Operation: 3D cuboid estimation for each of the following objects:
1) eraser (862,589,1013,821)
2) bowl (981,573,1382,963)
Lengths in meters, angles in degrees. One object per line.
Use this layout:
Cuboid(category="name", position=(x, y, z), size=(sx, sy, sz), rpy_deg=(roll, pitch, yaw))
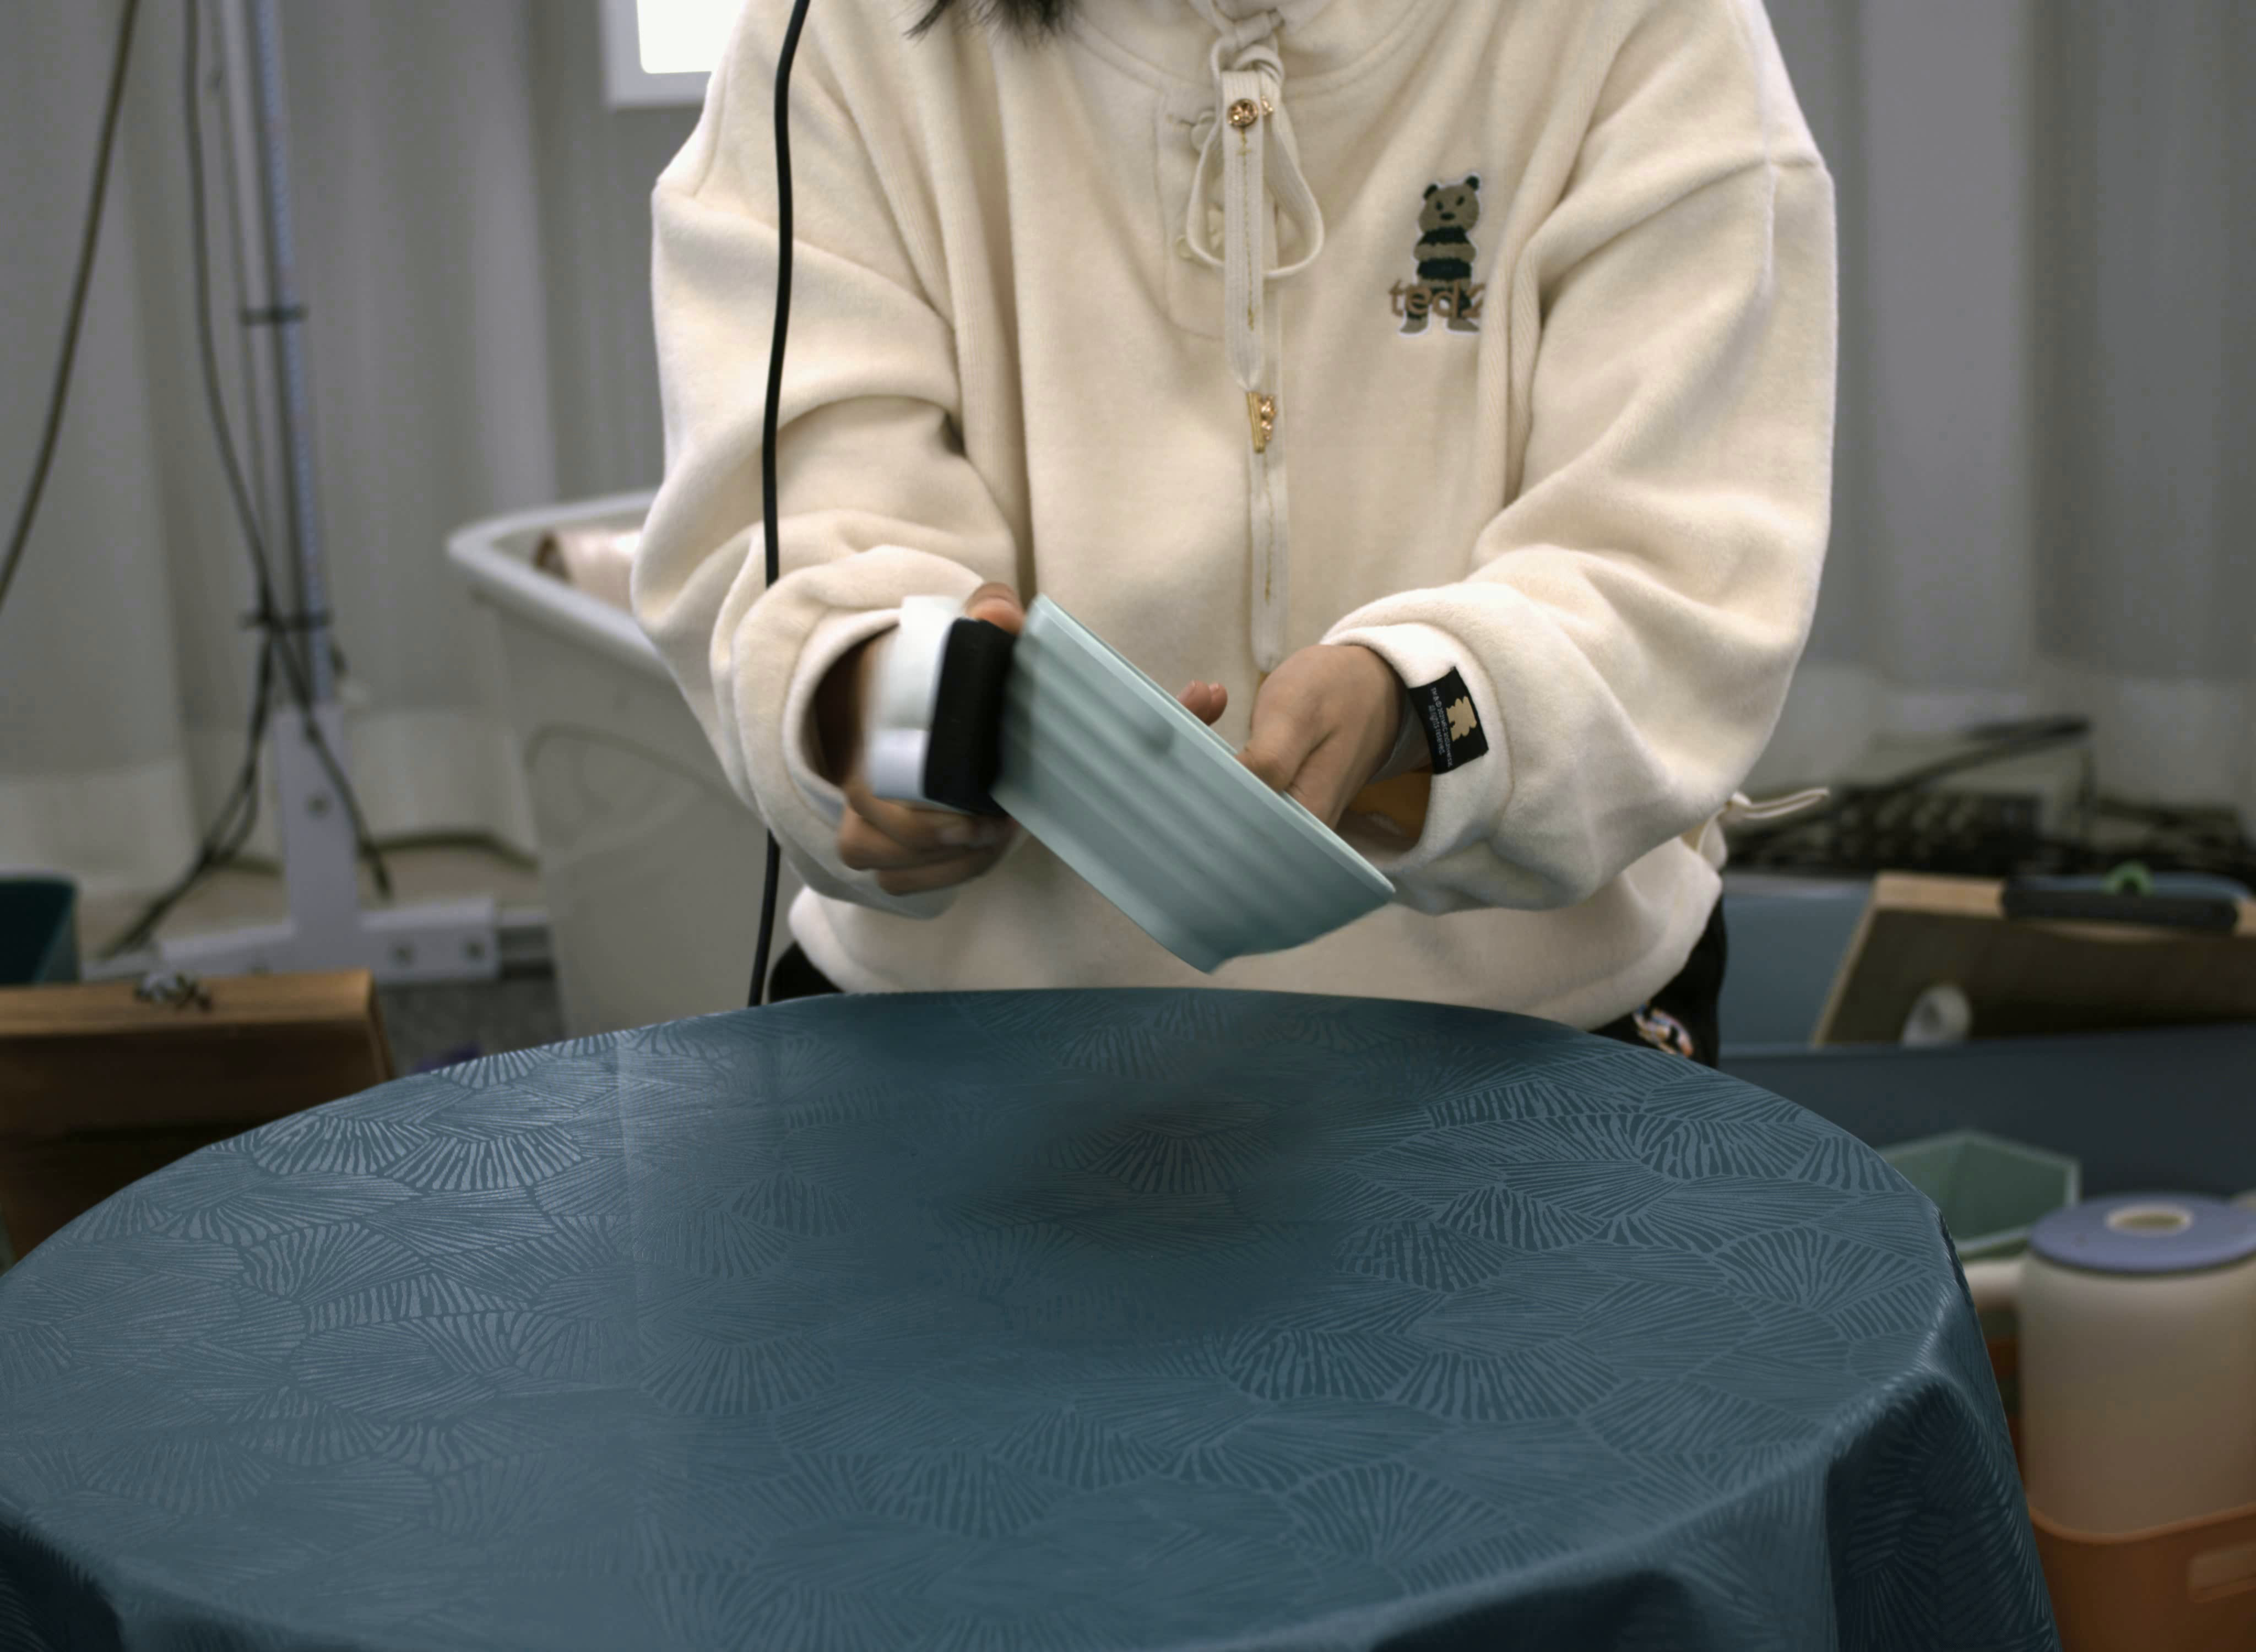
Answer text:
Cuboid(category="eraser", position=(-0.055, -0.036, 1.669), size=(0.034, 0.063, 0.131), rpy_deg=(10, -3, 9))
Cuboid(category="bowl", position=(0.007, -0.009, 1.674), size=(0.058, 0.150, 0.152), rpy_deg=(-46, 15, 5))
